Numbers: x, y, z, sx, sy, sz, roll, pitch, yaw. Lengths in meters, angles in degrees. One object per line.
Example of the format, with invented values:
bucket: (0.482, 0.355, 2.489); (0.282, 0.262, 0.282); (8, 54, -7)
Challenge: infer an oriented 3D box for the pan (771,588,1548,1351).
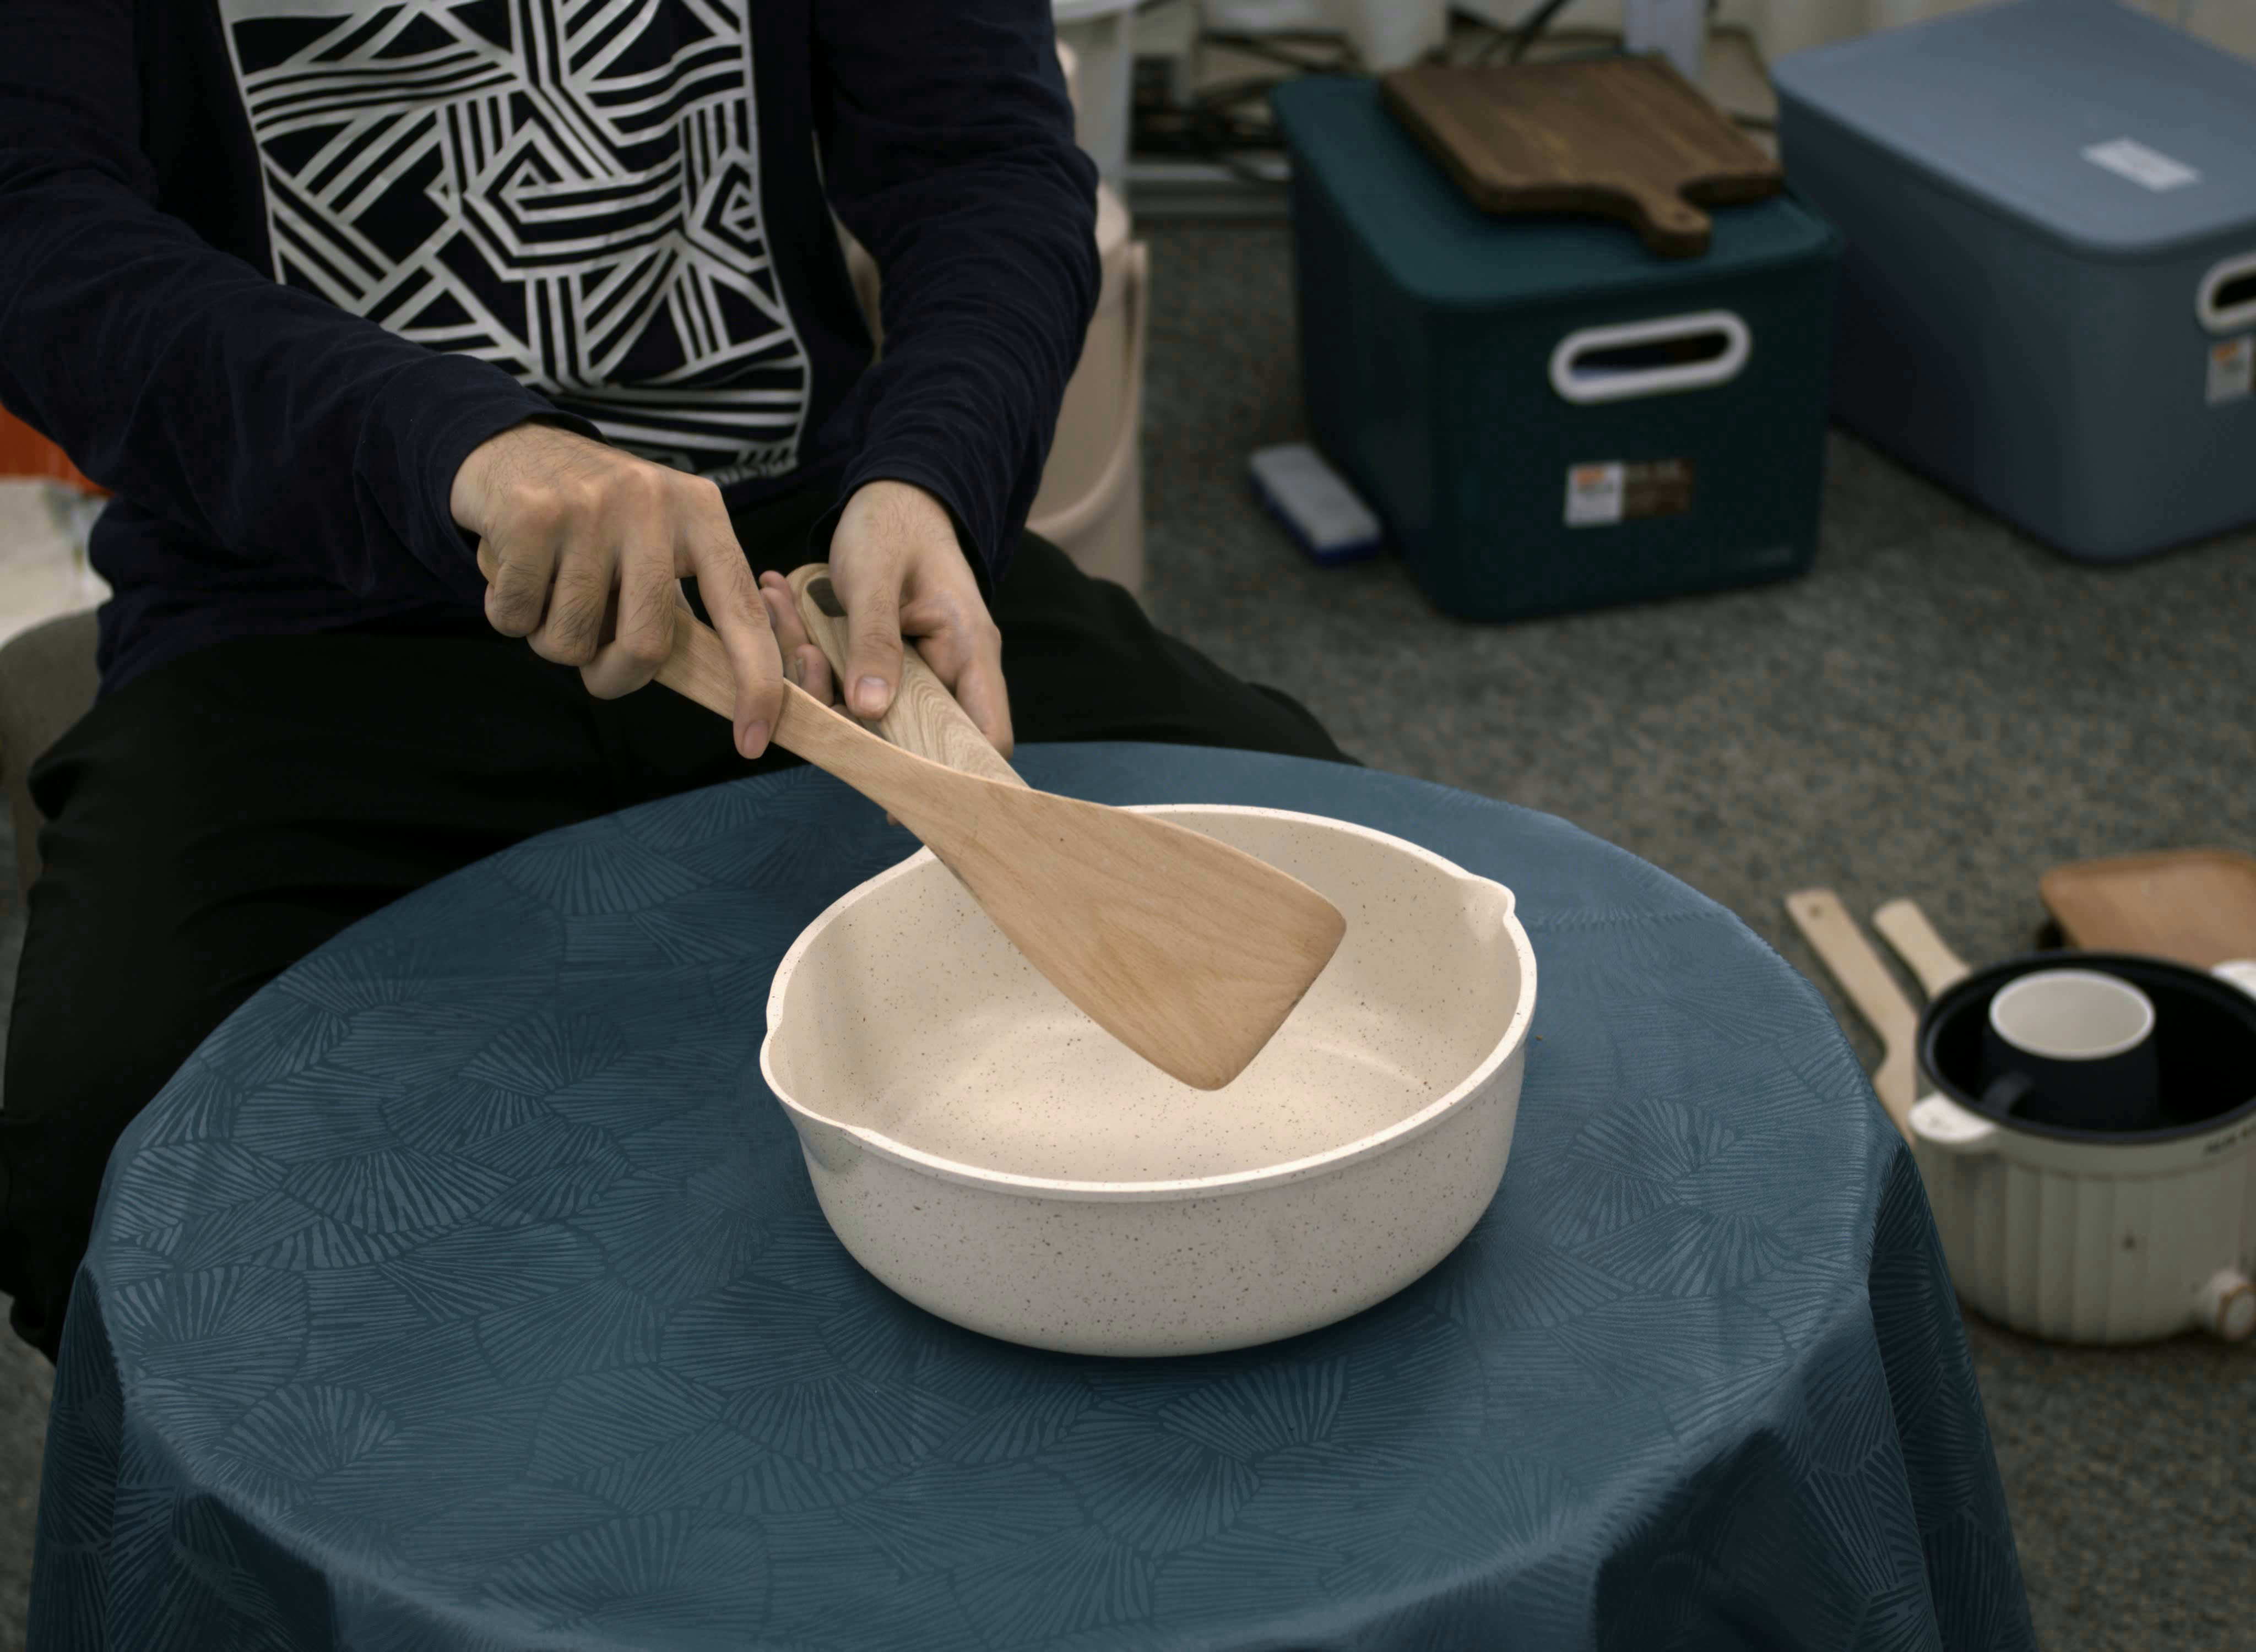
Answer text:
pan: (-0.025, 0.043, 1.919); (0.264, 0.101, 0.437); (-15, 29, -20)

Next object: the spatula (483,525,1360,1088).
spatula: (-0.077, -0.017, 1.844); (0.327, 0.079, 0.016); (29, 15, 18)
